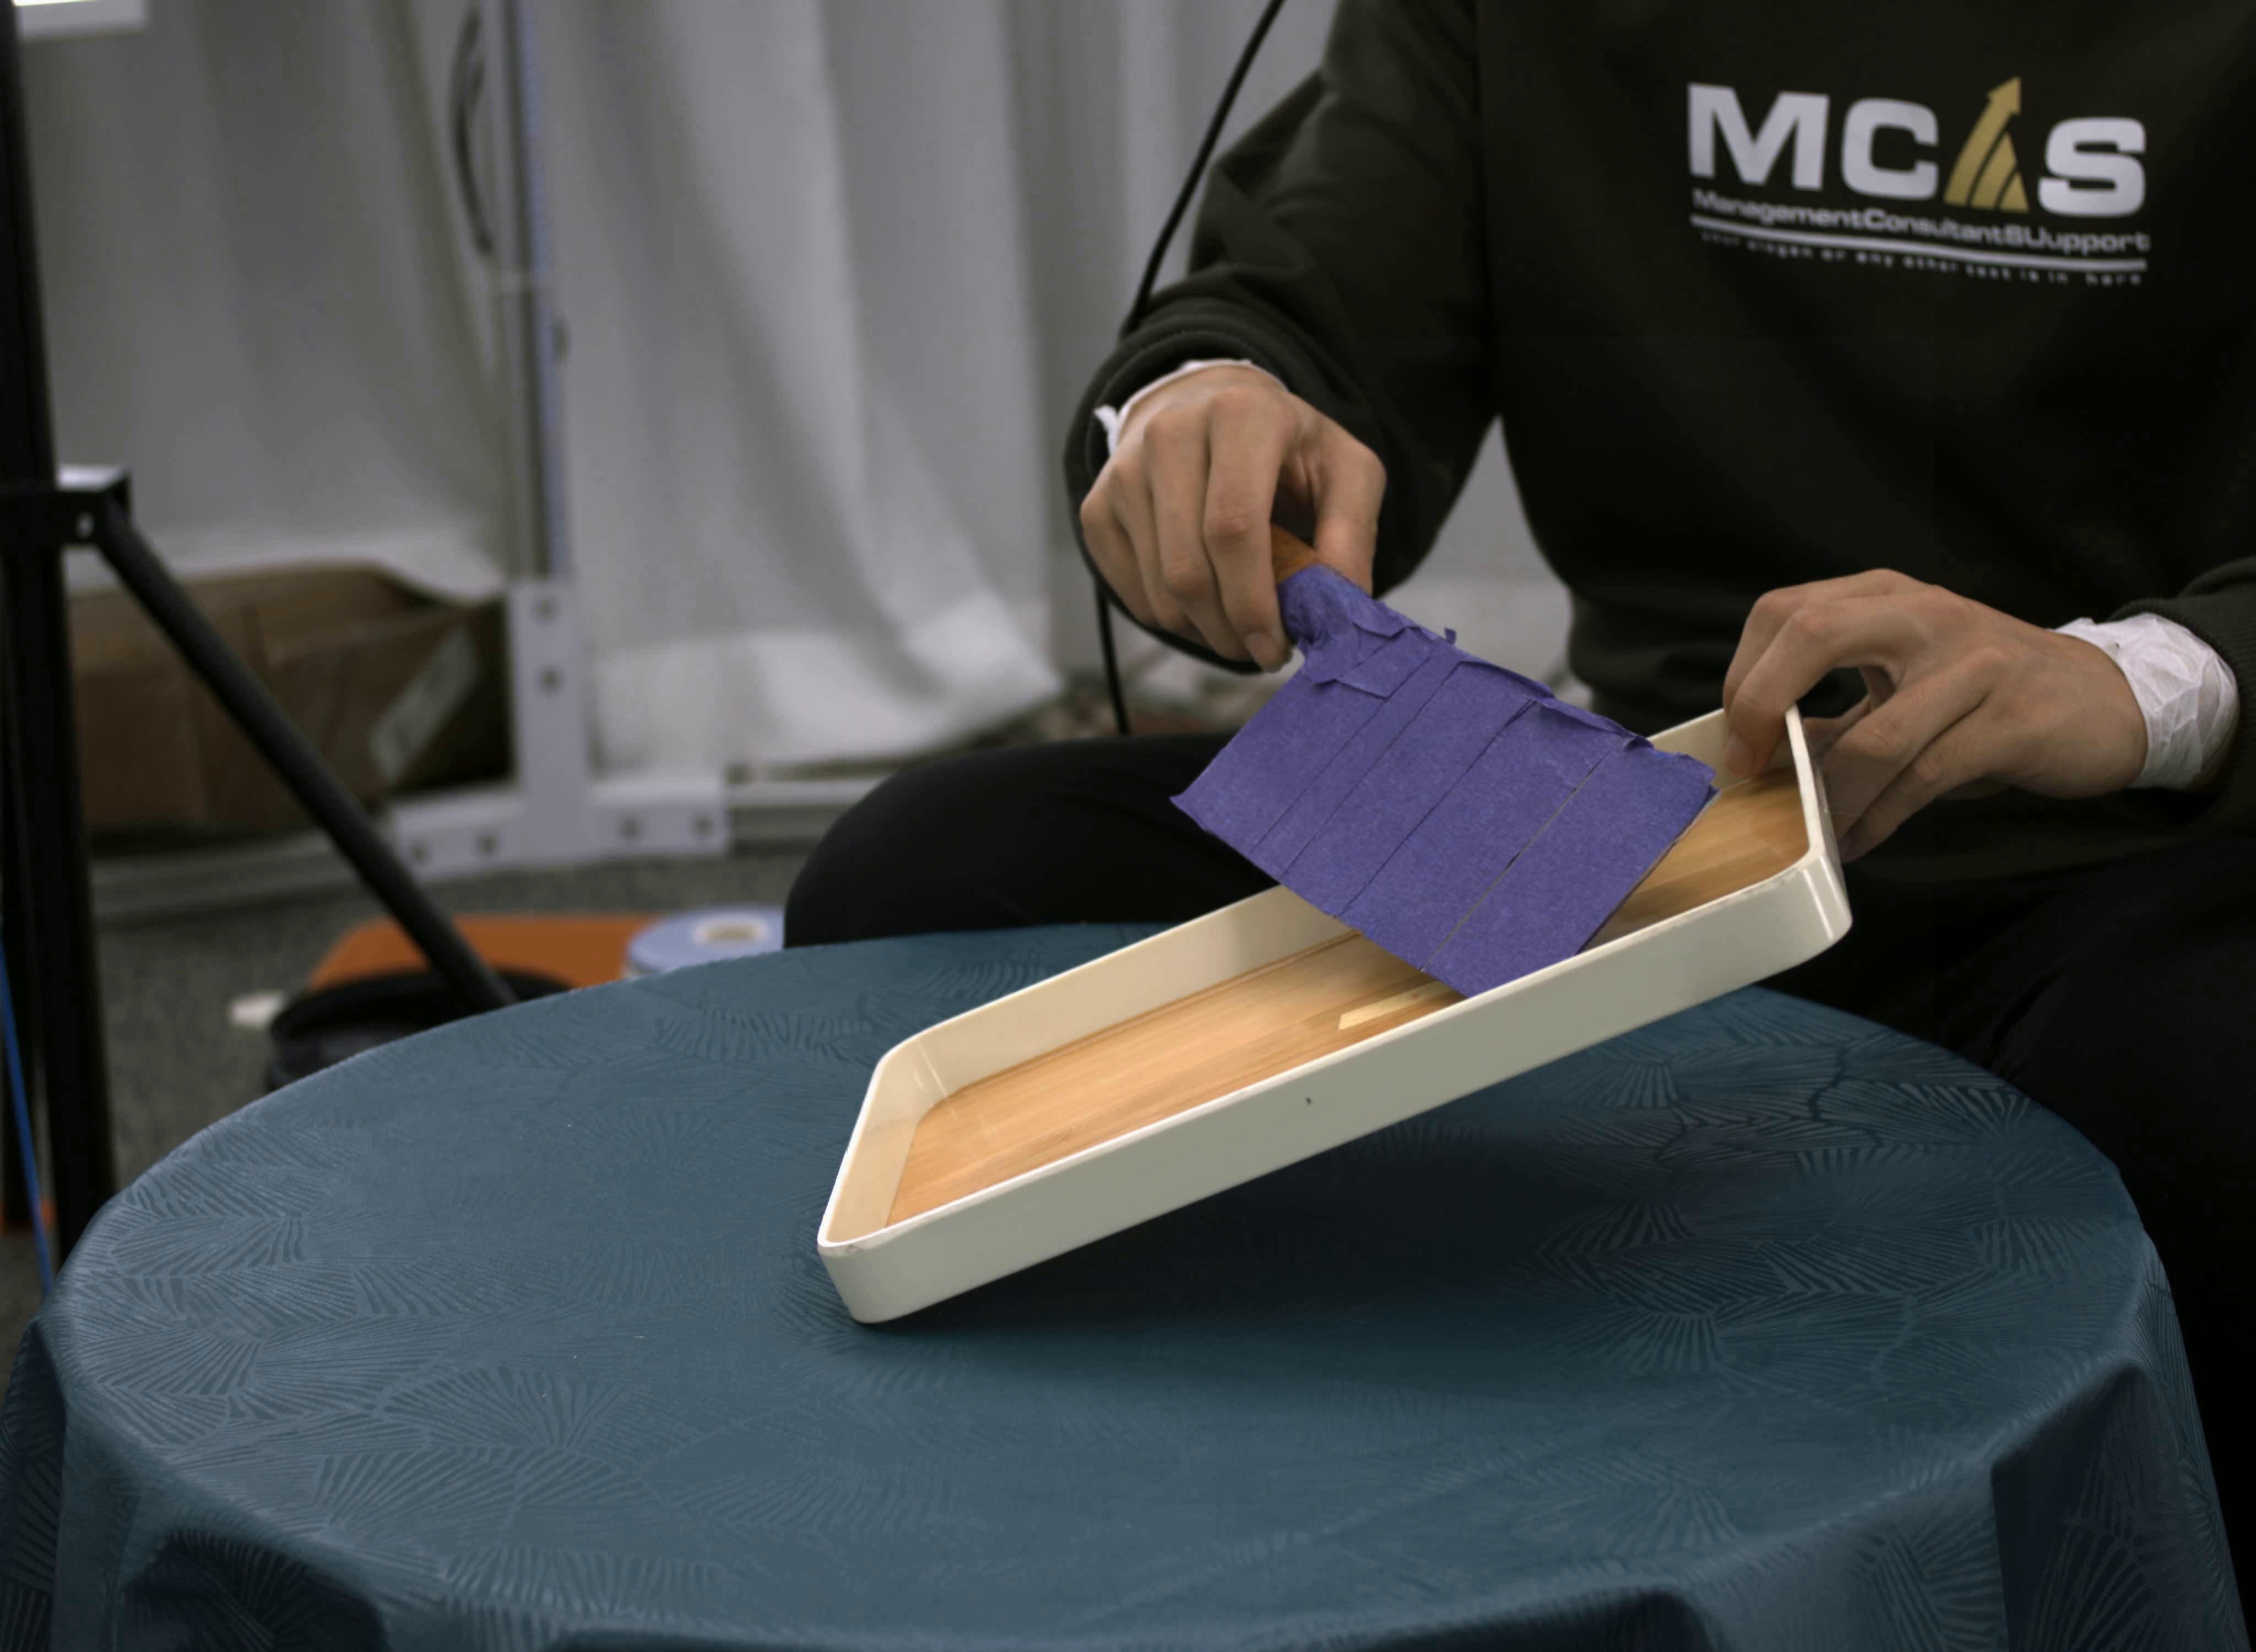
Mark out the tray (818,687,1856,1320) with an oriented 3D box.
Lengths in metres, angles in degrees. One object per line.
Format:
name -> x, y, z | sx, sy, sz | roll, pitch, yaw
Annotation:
tray -> 0.060, 0.049, 1.517 | 0.301, 0.027, 0.191 | -22, 13, 11

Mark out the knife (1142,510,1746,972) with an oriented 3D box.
knife -> 0.066, -0.028, 1.587 | 0.103, 0.031, 0.322 | -47, 29, -8
